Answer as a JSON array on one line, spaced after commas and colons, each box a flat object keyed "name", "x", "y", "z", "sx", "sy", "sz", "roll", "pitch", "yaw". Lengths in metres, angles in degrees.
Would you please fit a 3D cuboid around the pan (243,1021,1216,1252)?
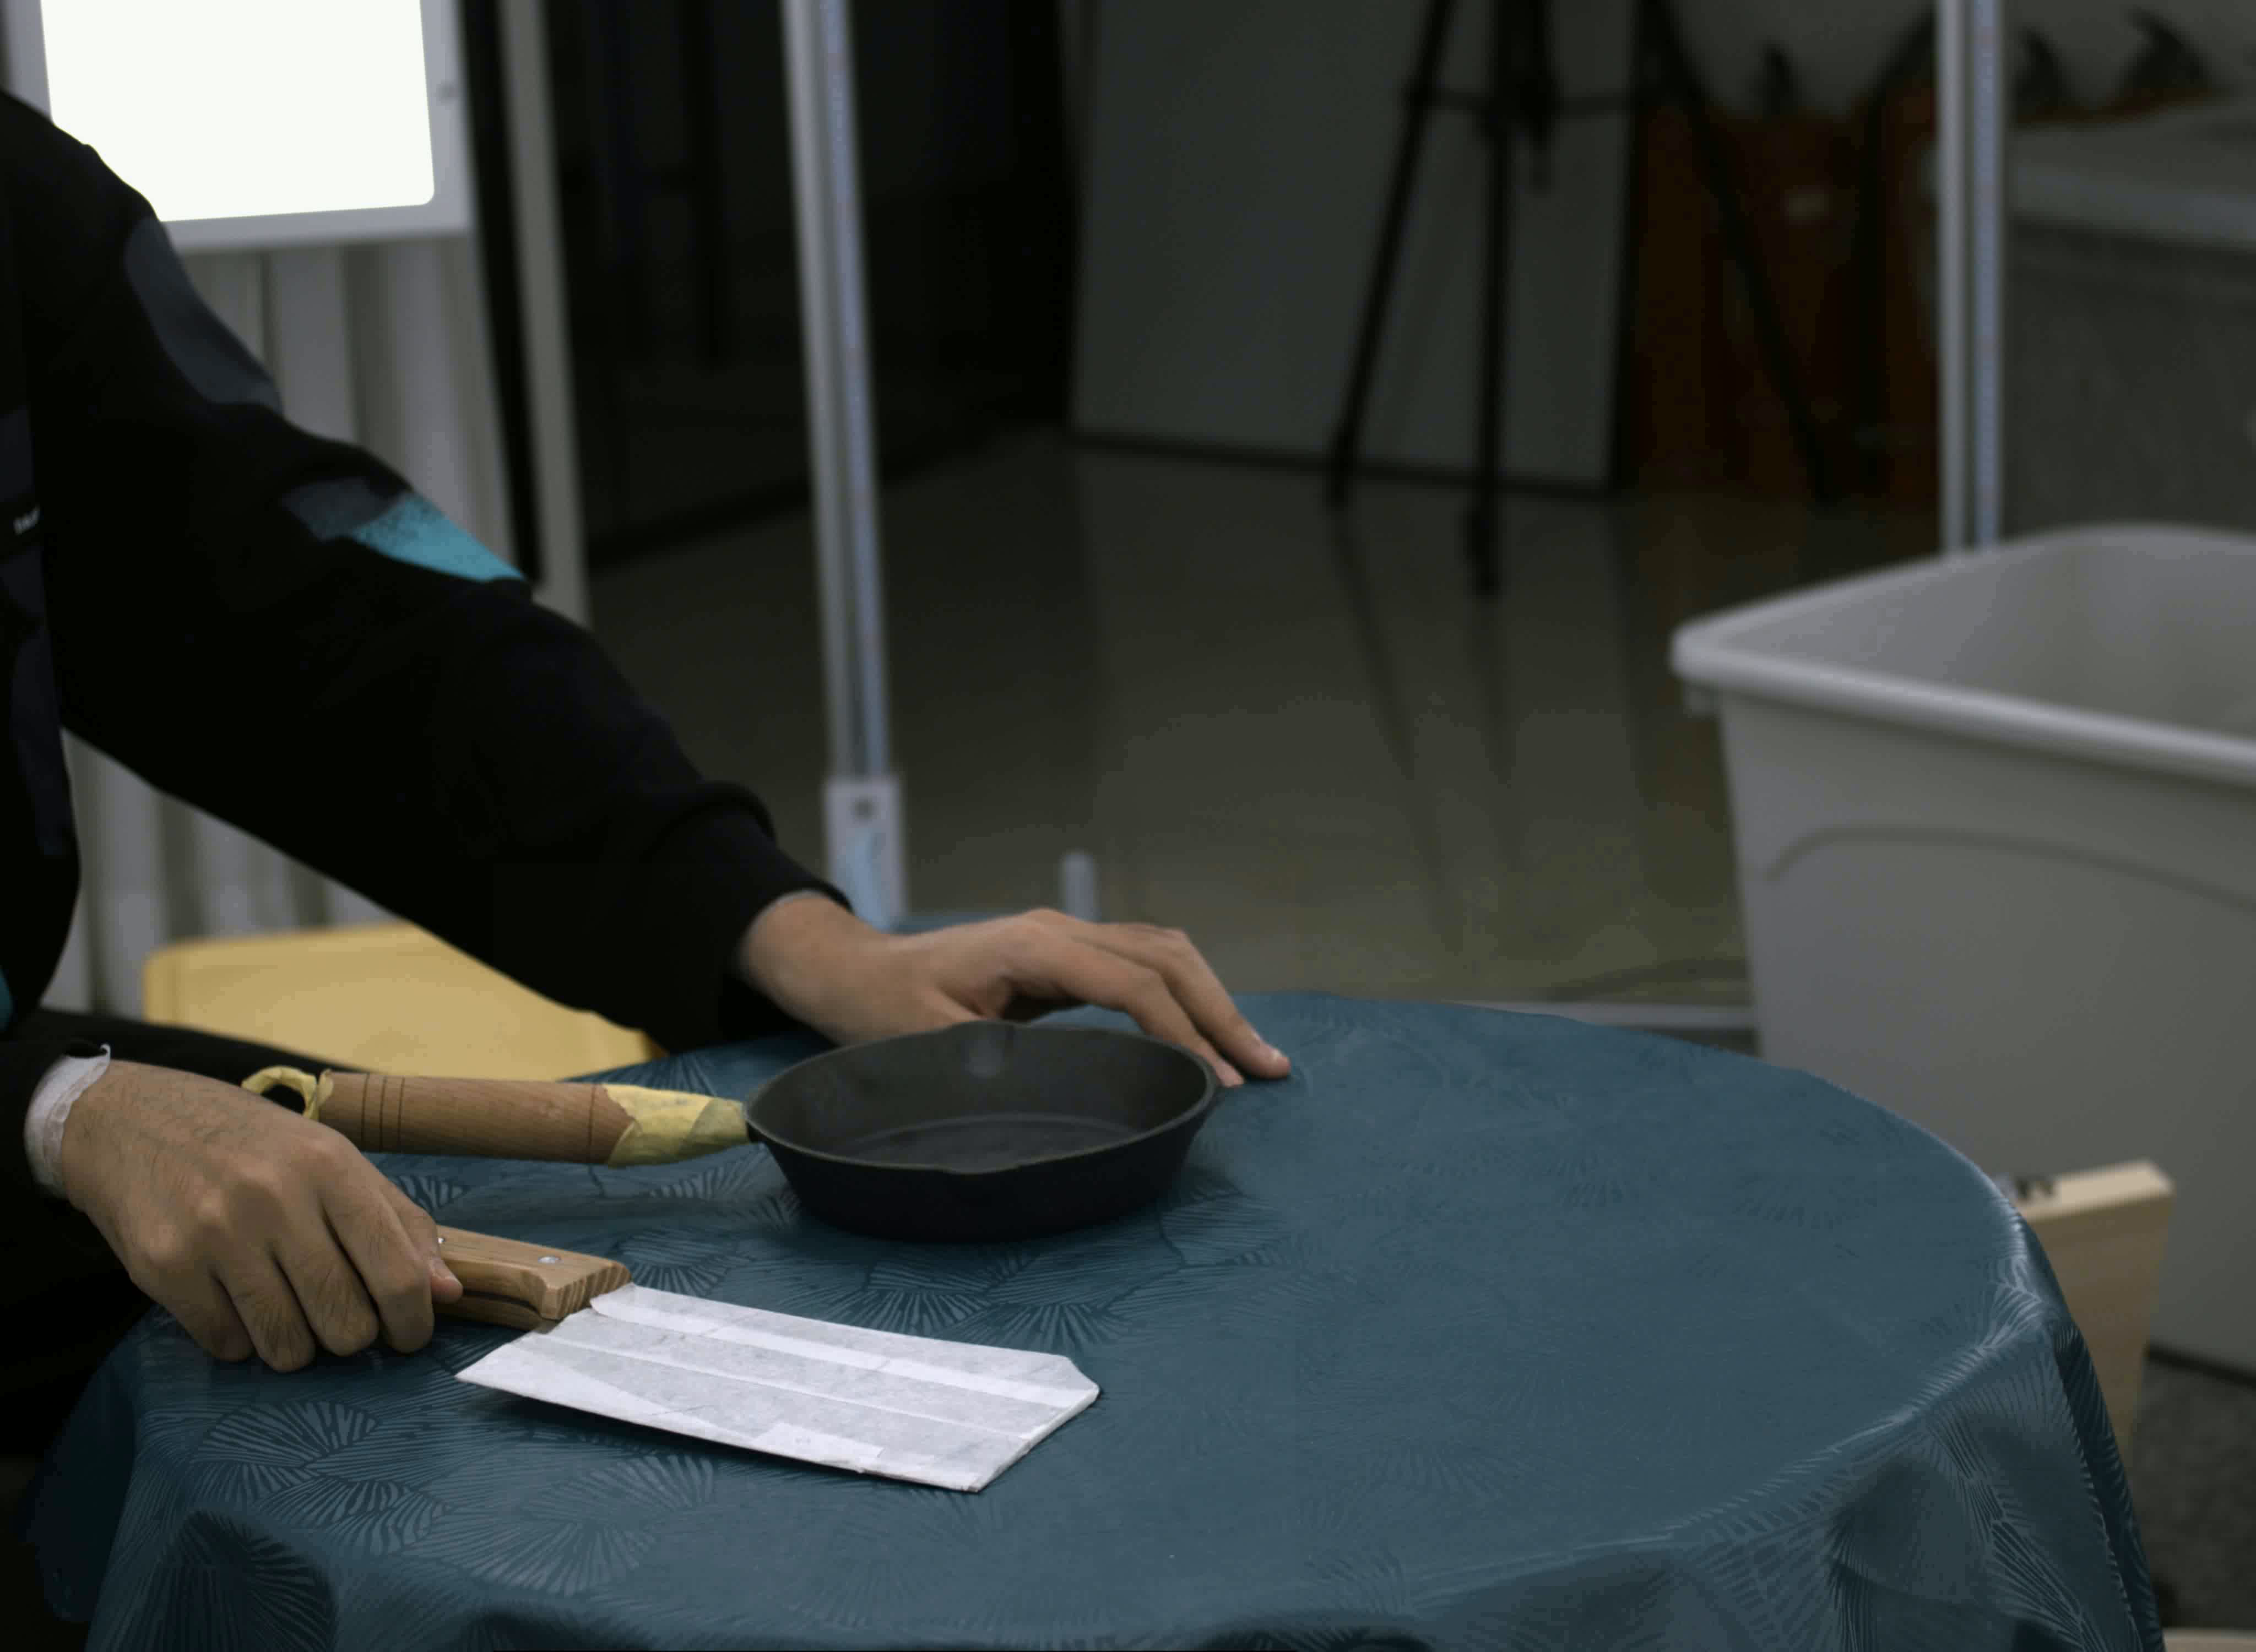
[{"name": "pan", "x": -0.130, "y": 0.102, "z": 1.784, "sx": 0.320, "sy": 0.050, "sz": 0.169, "roll": -3, "pitch": 14, "yaw": 2}]

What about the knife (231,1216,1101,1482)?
[{"name": "knife", "x": -0.148, "y": 0.156, "z": 1.635, "sx": 0.317, "sy": 0.022, "sz": 0.112, "roll": 9, "pitch": 19, "yaw": 34}]
